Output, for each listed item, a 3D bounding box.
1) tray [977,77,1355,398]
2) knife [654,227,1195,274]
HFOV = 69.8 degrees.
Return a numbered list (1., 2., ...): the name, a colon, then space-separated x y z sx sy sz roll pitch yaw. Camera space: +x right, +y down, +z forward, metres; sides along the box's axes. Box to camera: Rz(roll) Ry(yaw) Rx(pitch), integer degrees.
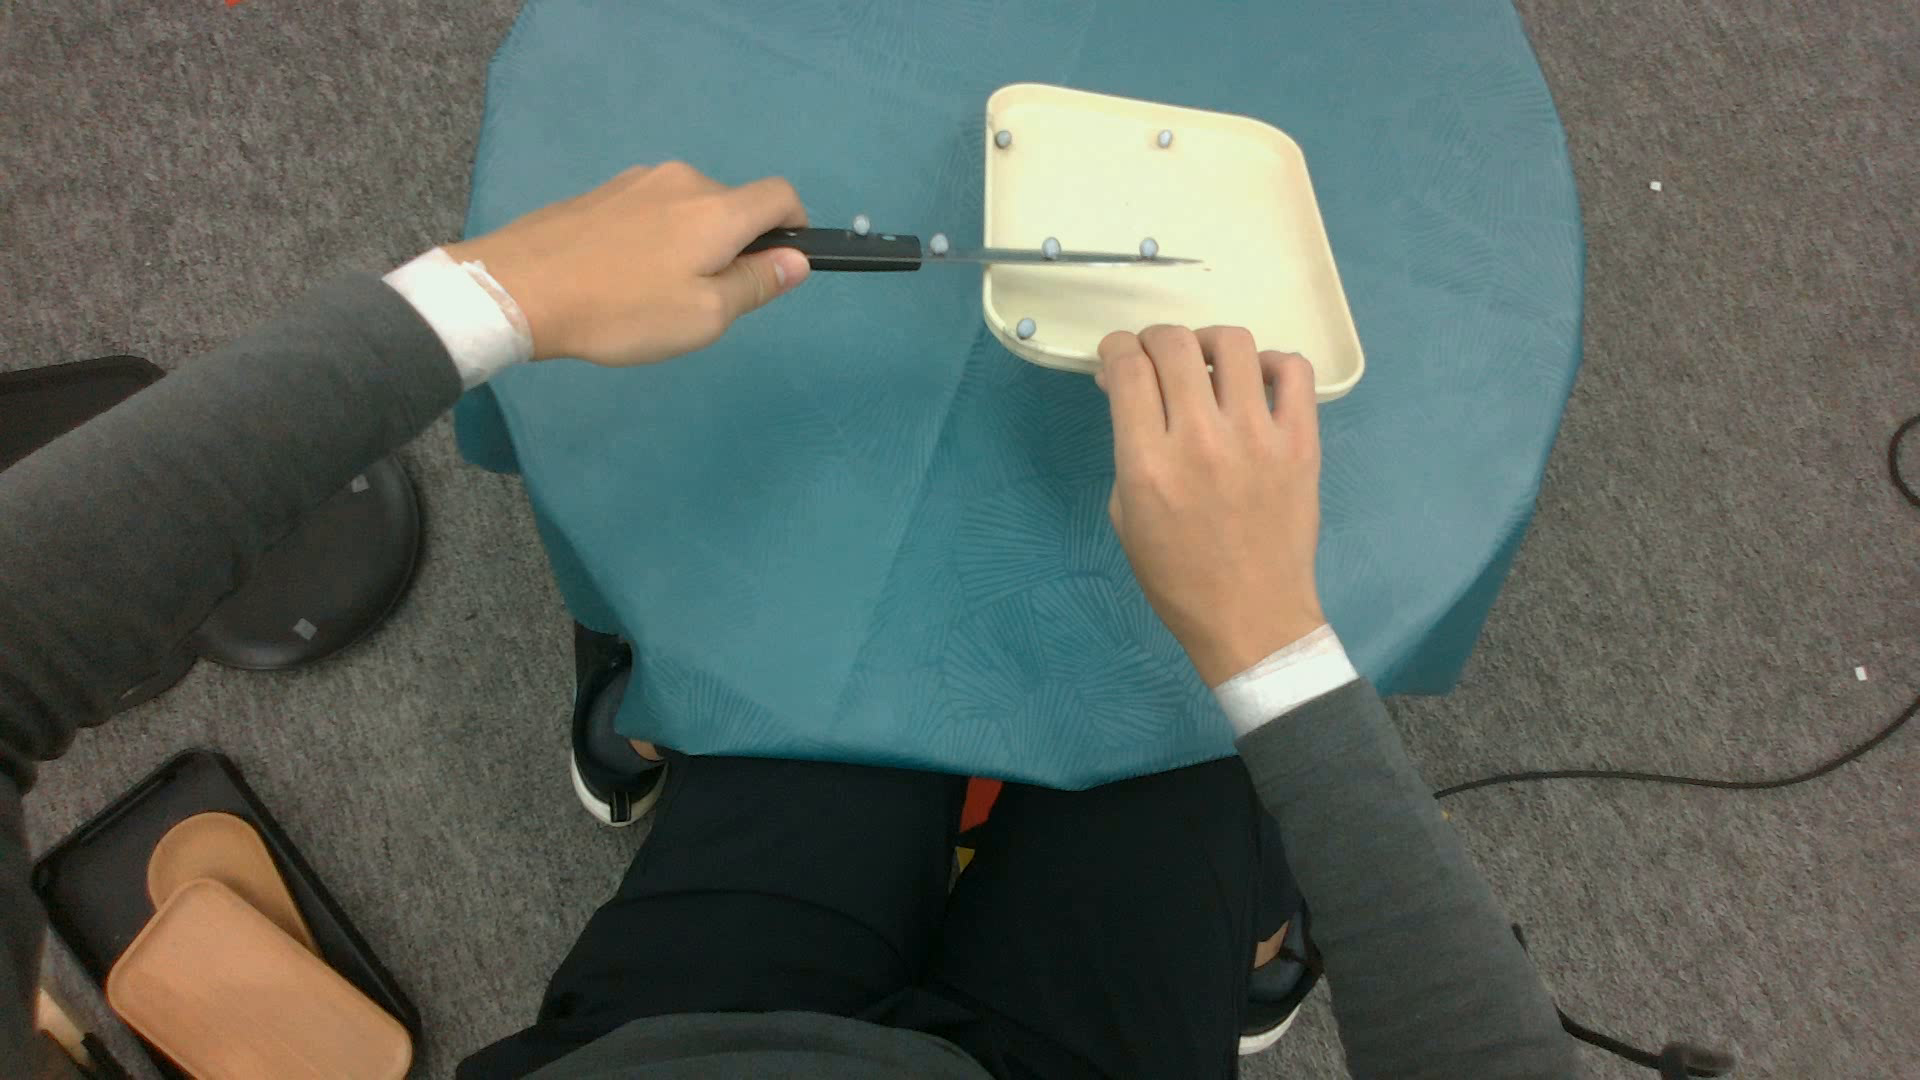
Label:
1. tray: 0.091 -0.152 0.665 0.171 0.017 0.241 8 44 -6
2. knife: -0.014 -0.125 0.600 0.238 0.024 0.016 1 120 -5
